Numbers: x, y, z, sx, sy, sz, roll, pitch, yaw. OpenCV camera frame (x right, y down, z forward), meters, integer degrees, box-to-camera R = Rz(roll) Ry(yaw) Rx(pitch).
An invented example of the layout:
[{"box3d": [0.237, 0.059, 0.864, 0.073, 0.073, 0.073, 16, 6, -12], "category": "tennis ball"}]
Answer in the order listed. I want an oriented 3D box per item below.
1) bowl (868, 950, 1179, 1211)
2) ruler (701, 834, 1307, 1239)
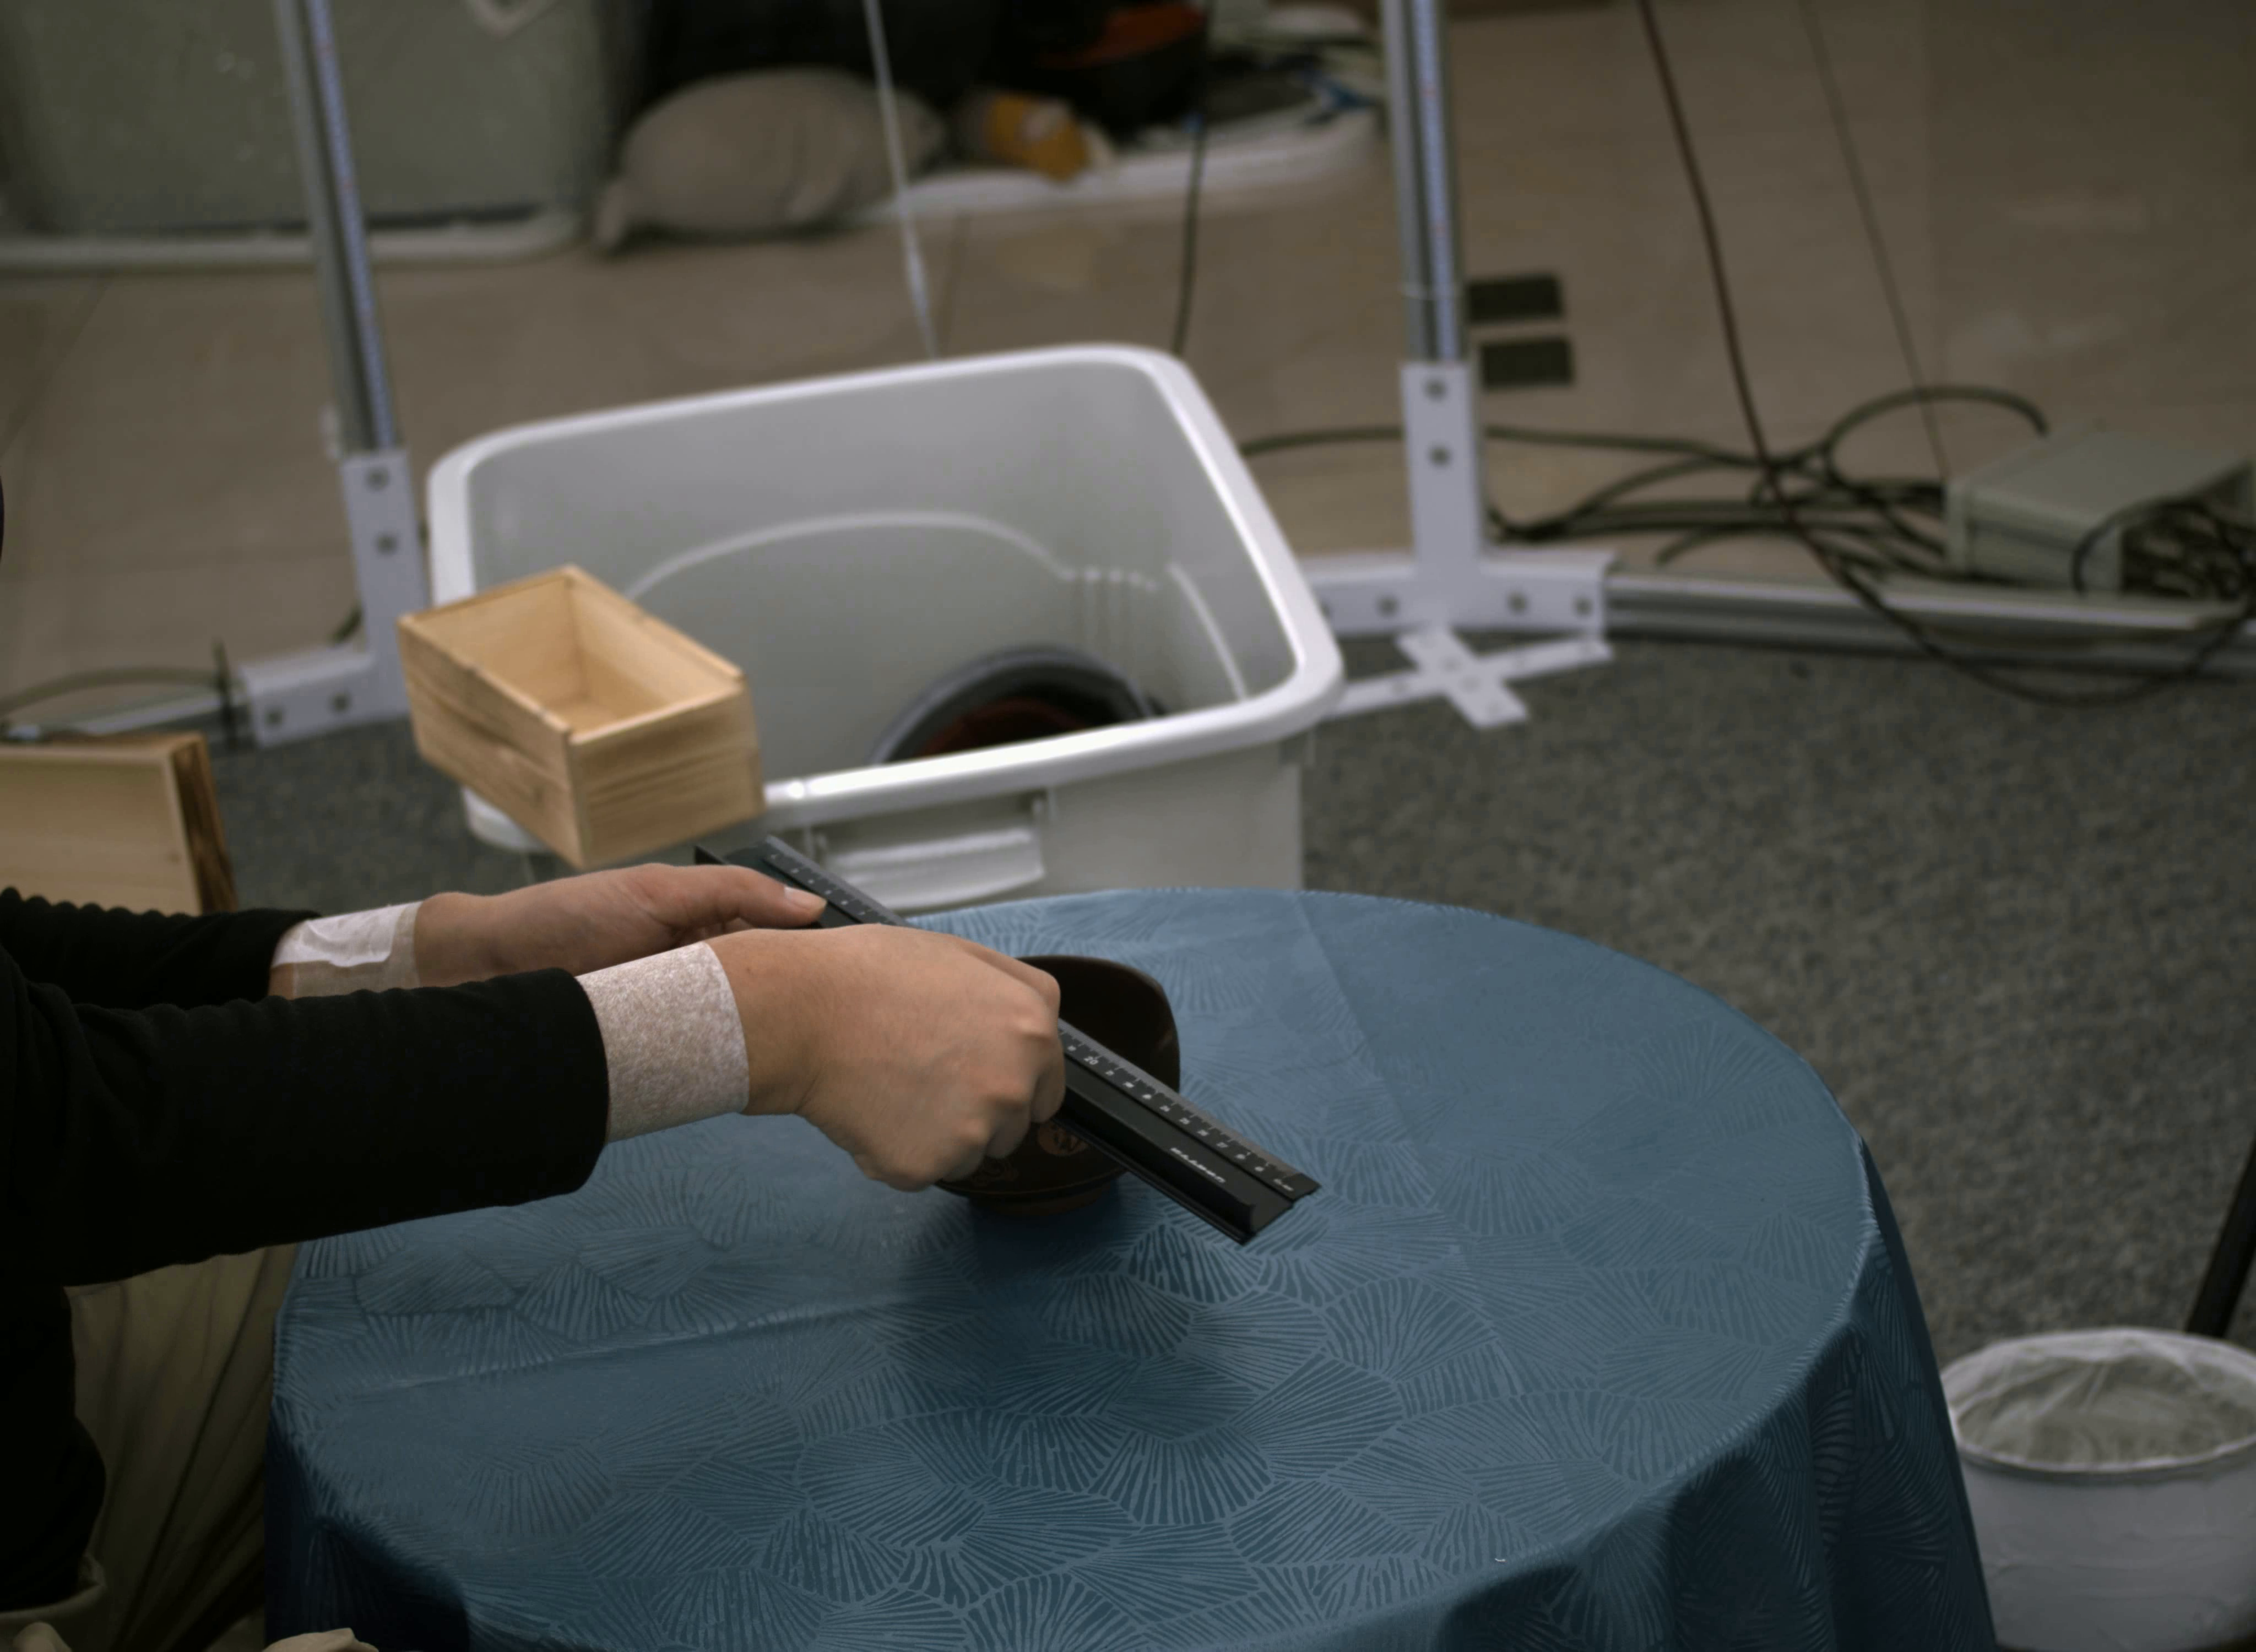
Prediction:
[{"box3d": [-0.038, 0.102, 2.147, 0.118, 0.071, 0.116, -5, 24, 2], "category": "bowl"}, {"box3d": [-0.050, 0.068, 2.060, 0.039, 0.017, 0.309, -32, 43, -28], "category": "ruler"}]
